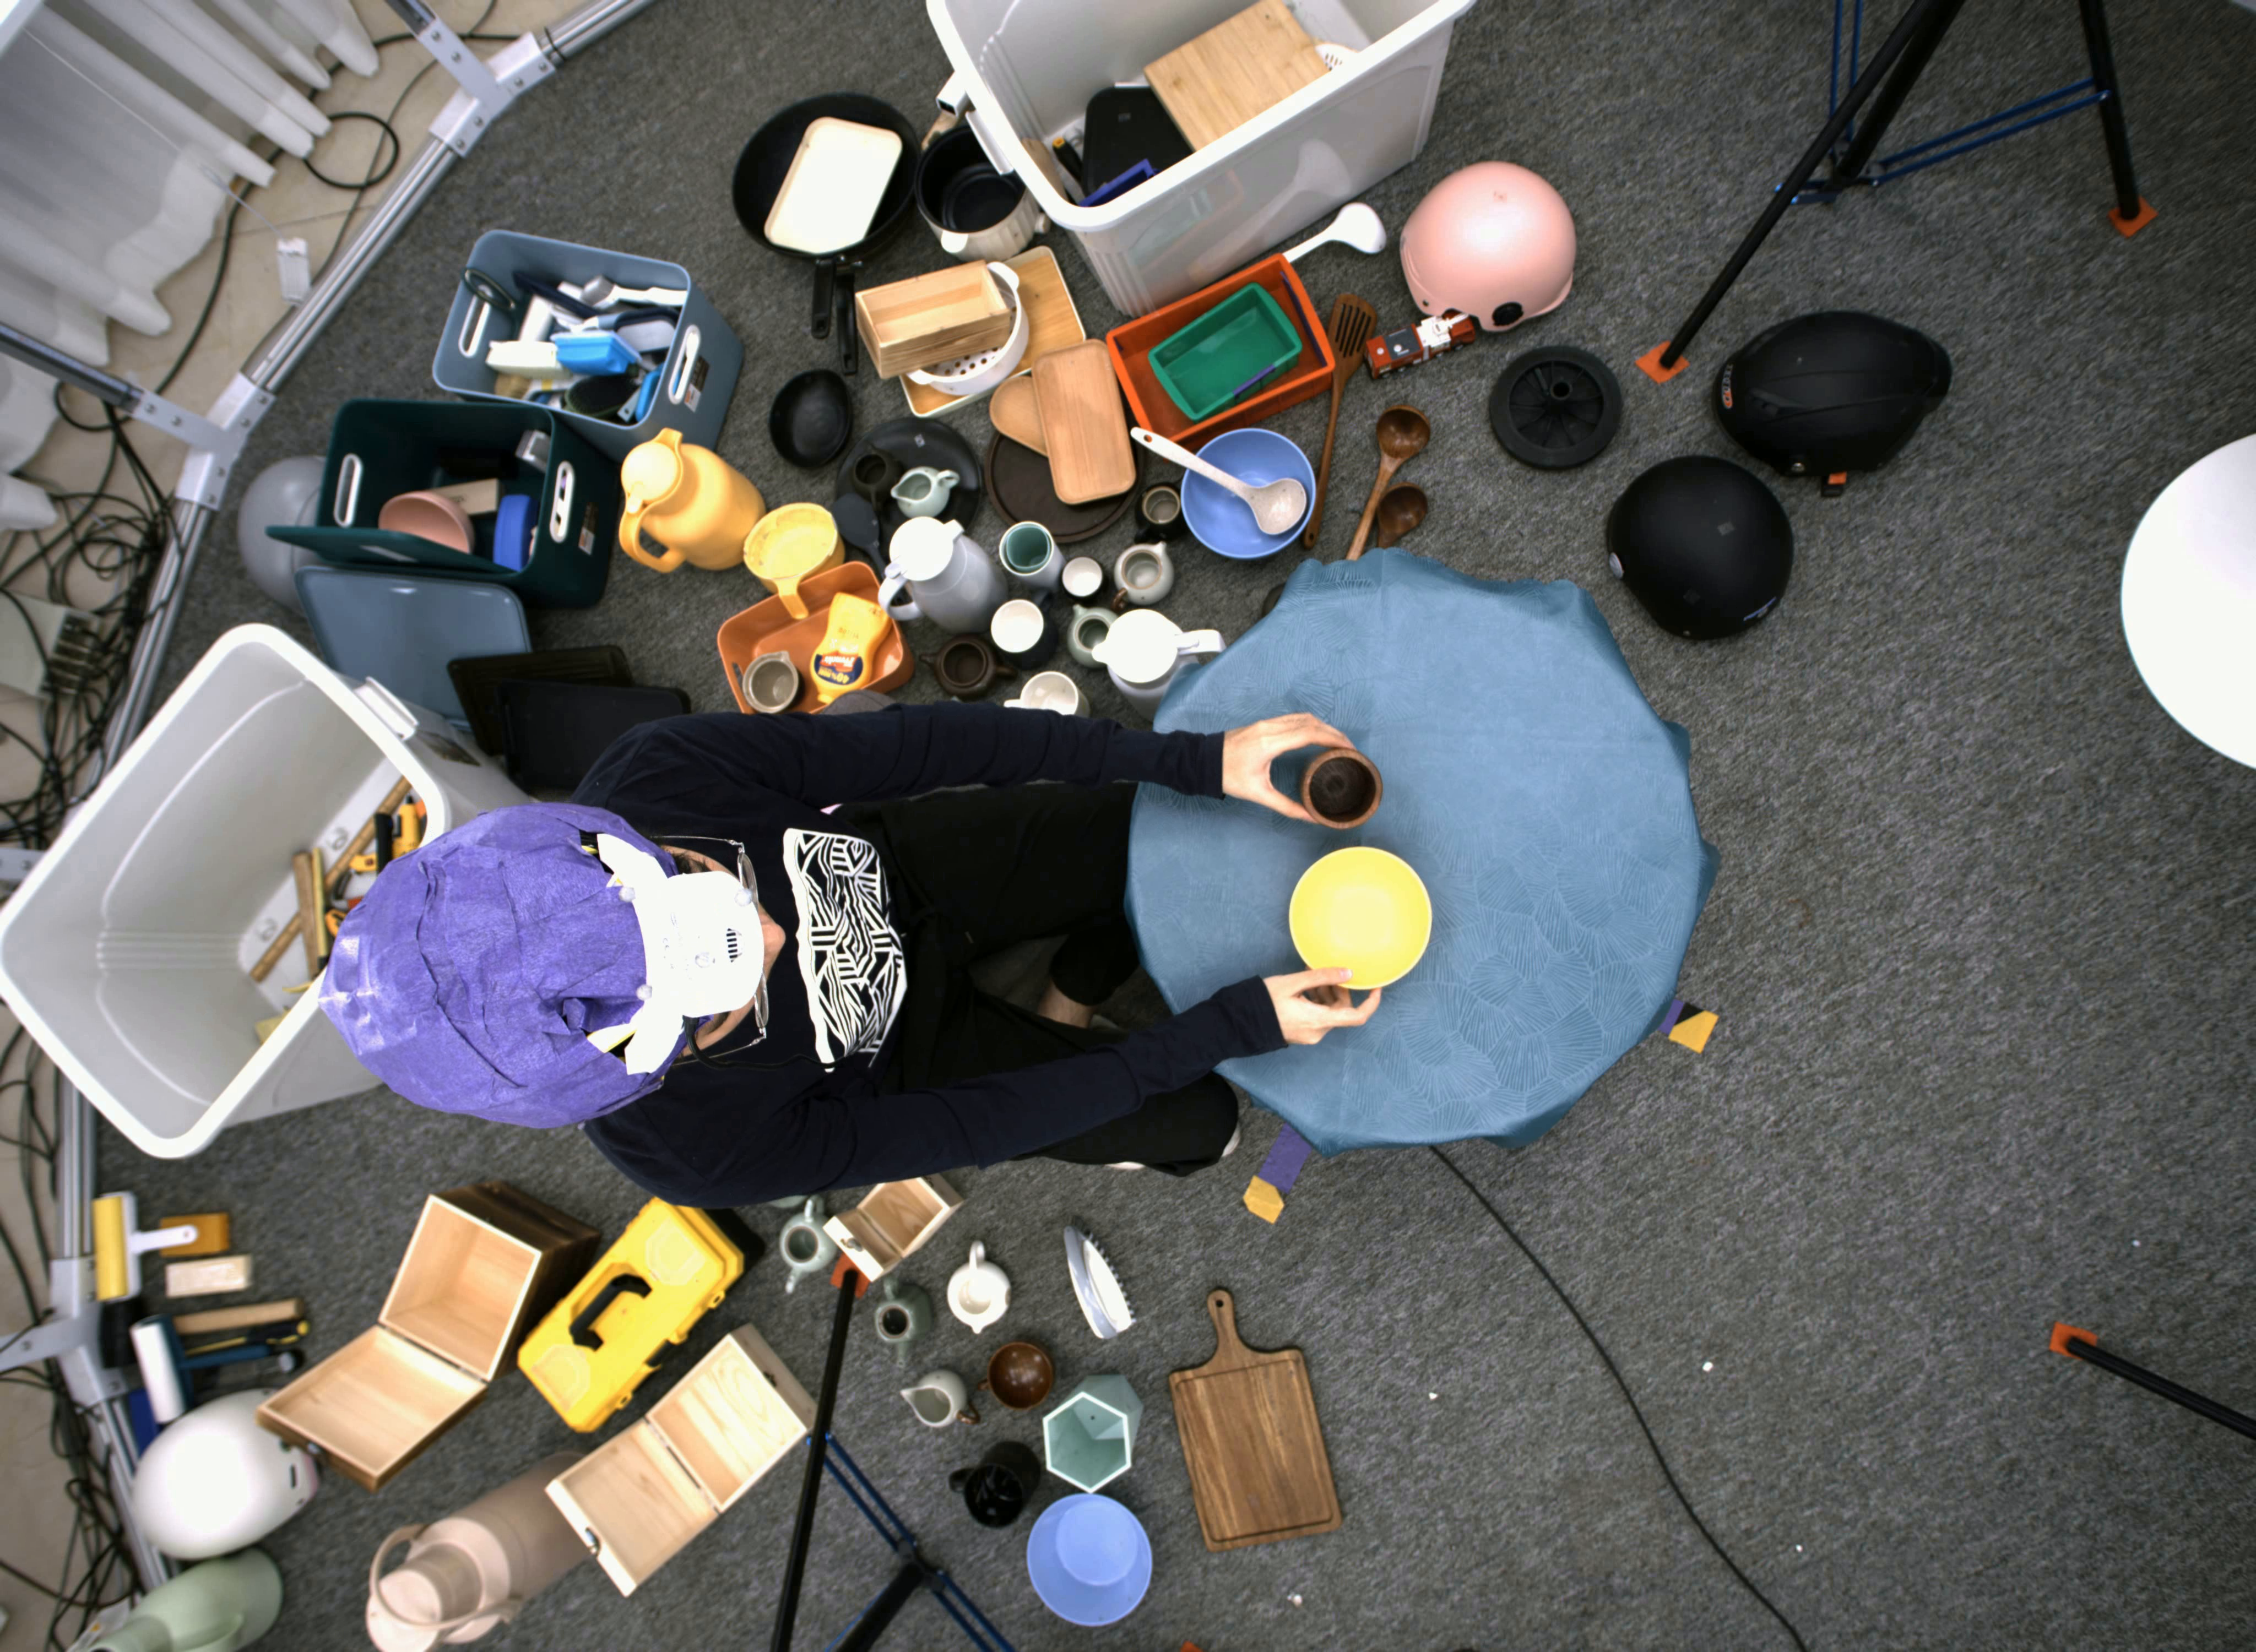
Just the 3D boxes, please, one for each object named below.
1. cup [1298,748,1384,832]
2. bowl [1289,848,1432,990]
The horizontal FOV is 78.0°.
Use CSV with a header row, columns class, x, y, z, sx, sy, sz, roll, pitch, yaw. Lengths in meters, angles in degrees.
class,x,y,z,sx,sy,sz,roll,pitch,yaw
cup,0.215,-0.039,1.406,0.088,0.117,0.088,1,94,6
bowl,0.241,0.097,1.433,0.146,0.060,0.144,-1,85,12
